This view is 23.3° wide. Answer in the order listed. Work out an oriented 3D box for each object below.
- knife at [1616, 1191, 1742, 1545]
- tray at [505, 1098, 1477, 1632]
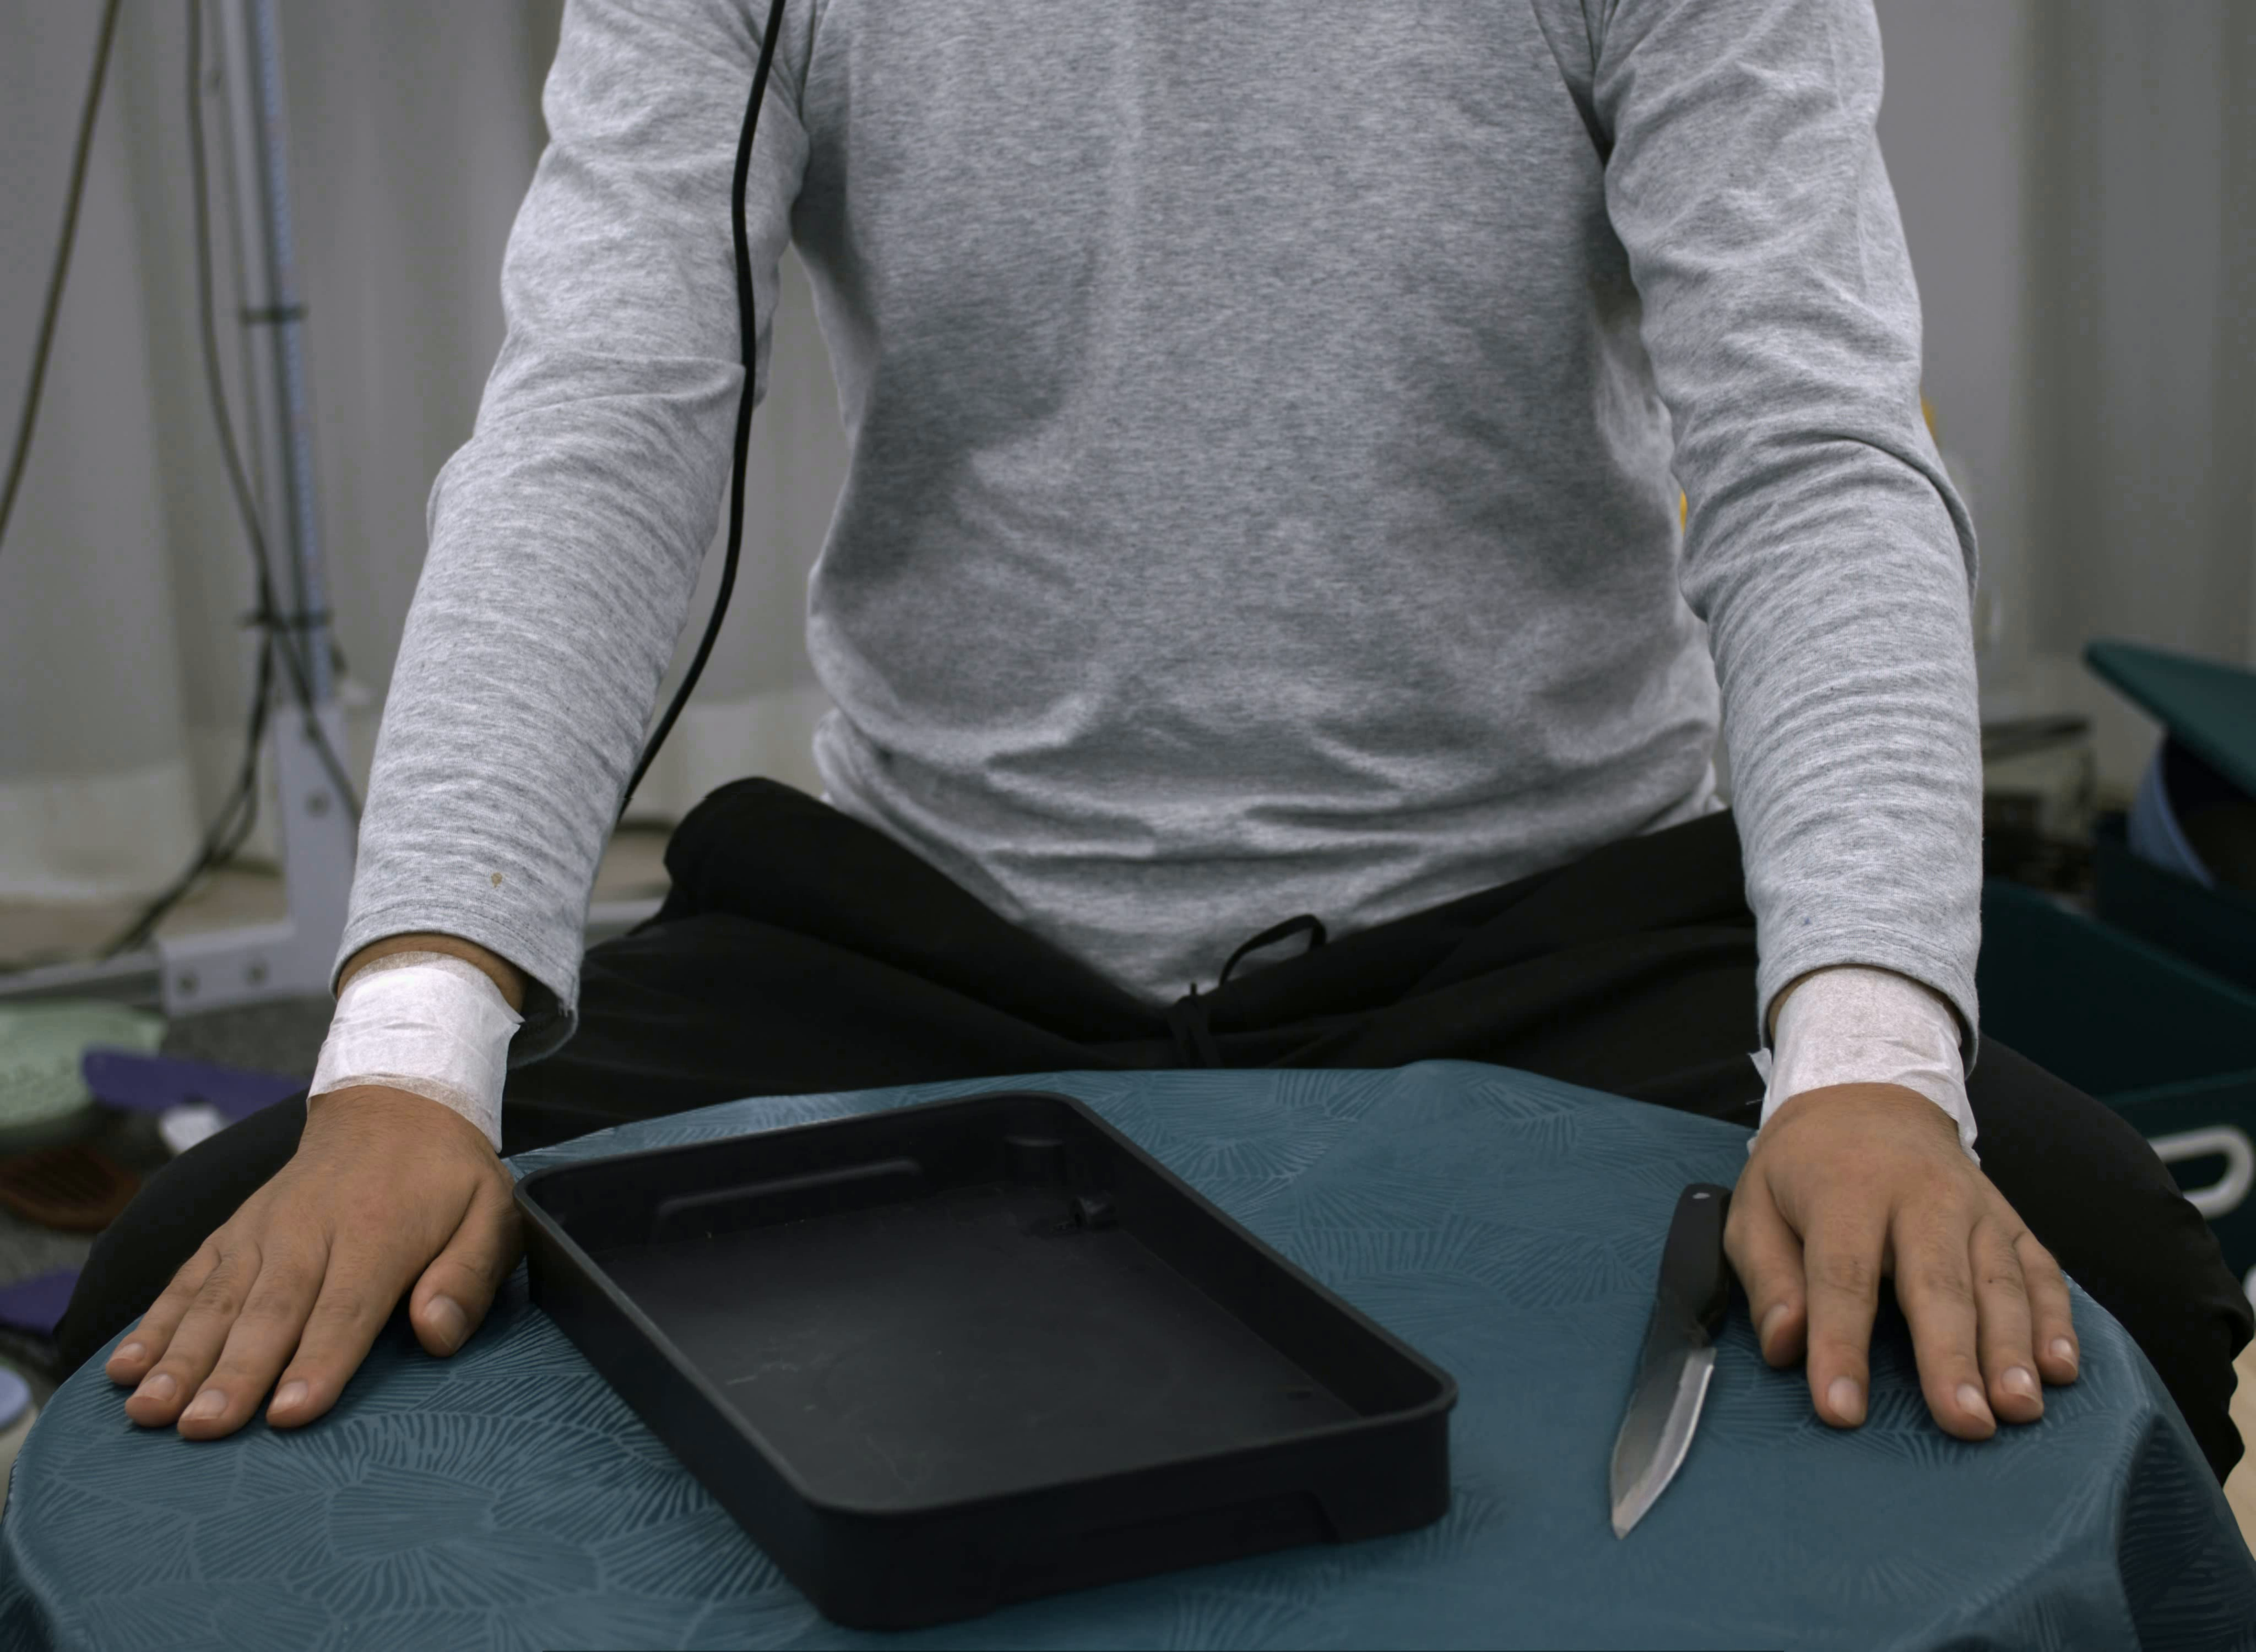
[{"bbox_3d":[0.152,0.151,1.532,0.024,0.016,0.239,0,17,11],"label":"knife"},{"bbox_3d":[-0.046,0.145,1.542,0.183,0.037,0.320,-8,15,-22],"label":"tray"}]
